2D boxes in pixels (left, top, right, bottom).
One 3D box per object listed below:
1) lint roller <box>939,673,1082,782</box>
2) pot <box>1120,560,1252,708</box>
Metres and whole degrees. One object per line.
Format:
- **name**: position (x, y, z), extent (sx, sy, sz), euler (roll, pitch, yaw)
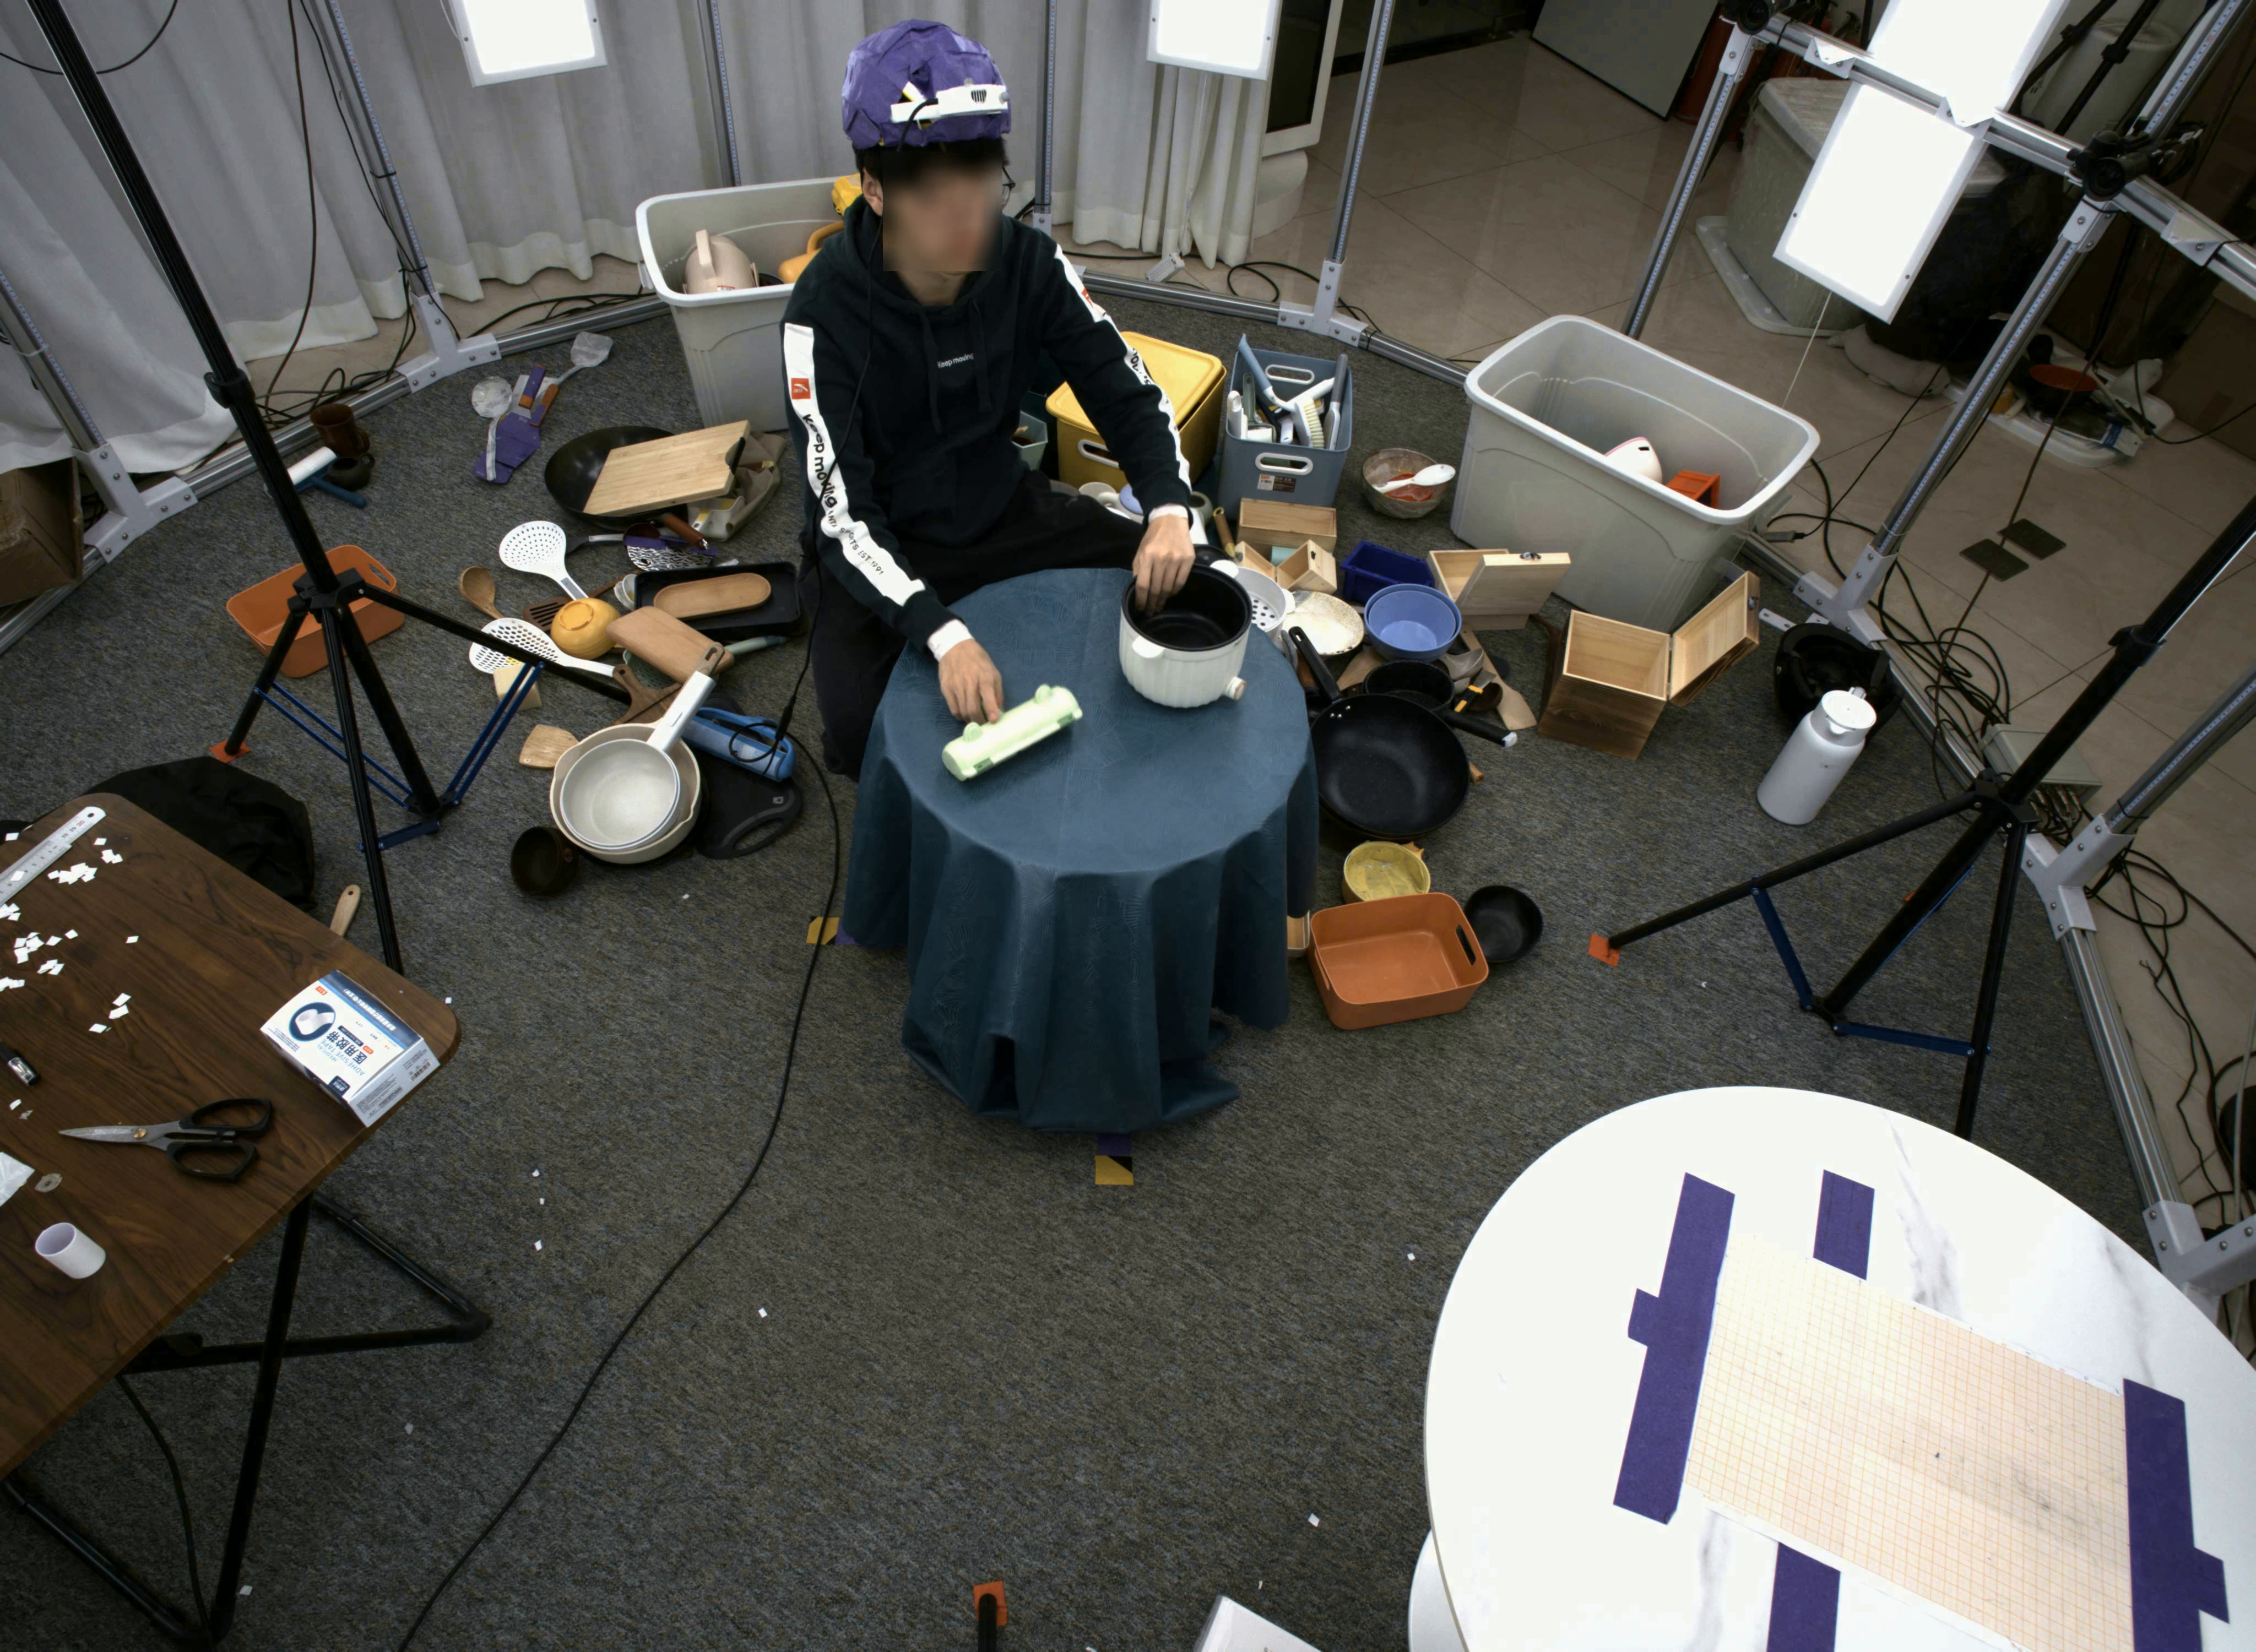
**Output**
- **lint roller**: position (-0.190, -0.165, 1.745), extent (0.200, 0.080, 0.186), euler (-29, 62, -24)
- **pot**: position (0.083, -0.260, 1.810), extent (0.192, 0.139, 0.244), euler (26, 54, 21)
